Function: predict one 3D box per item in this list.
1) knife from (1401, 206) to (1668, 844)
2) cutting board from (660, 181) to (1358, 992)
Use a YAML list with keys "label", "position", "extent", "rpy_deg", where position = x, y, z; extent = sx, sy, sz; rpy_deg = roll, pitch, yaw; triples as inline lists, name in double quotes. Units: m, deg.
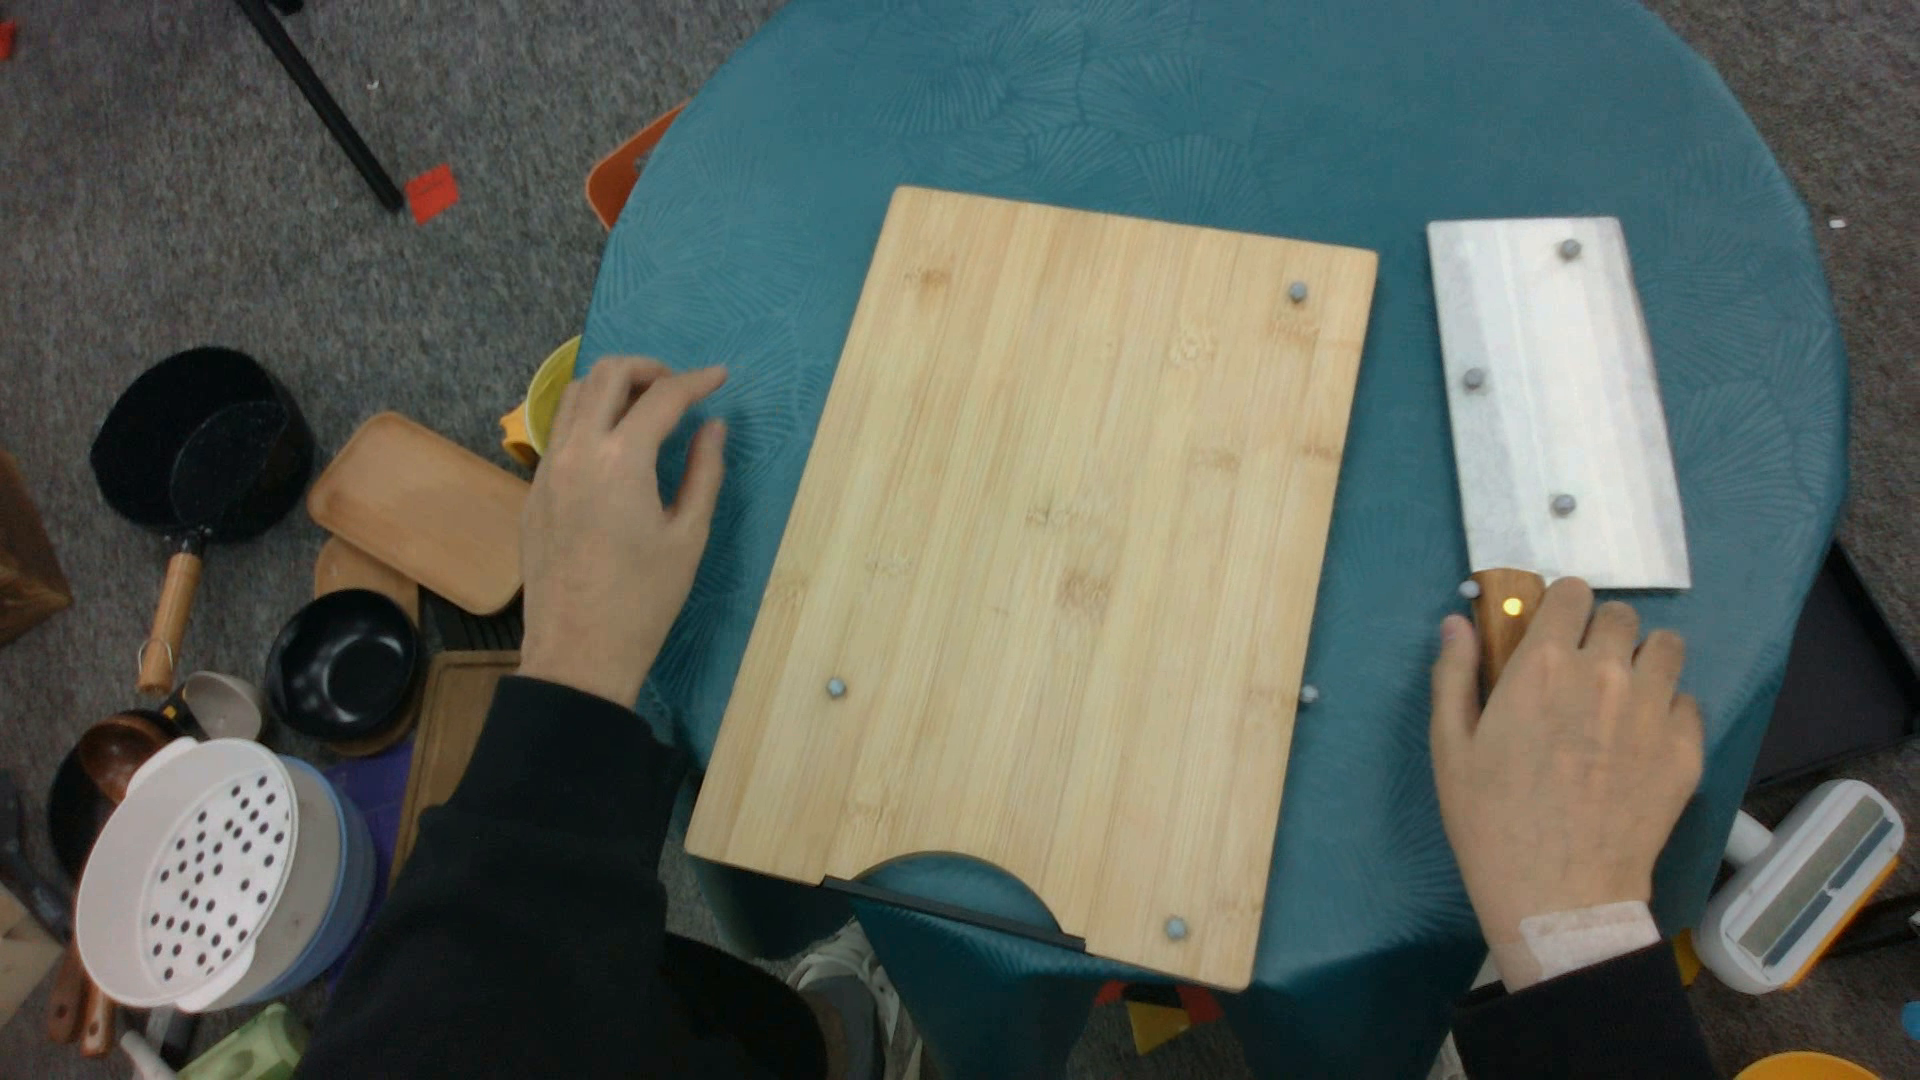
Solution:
- label: "knife"
  position: [0.258, -0.021, 0.605]
  extent: [0.093, 0.021, 0.307]
  rpy_deg: [-1, 66, 3]
- label: "cutting board"
  position: [0.032, 0.000, 0.623]
  extent: [0.250, 0.023, 0.350]
  rpy_deg: [9, 69, 11]
